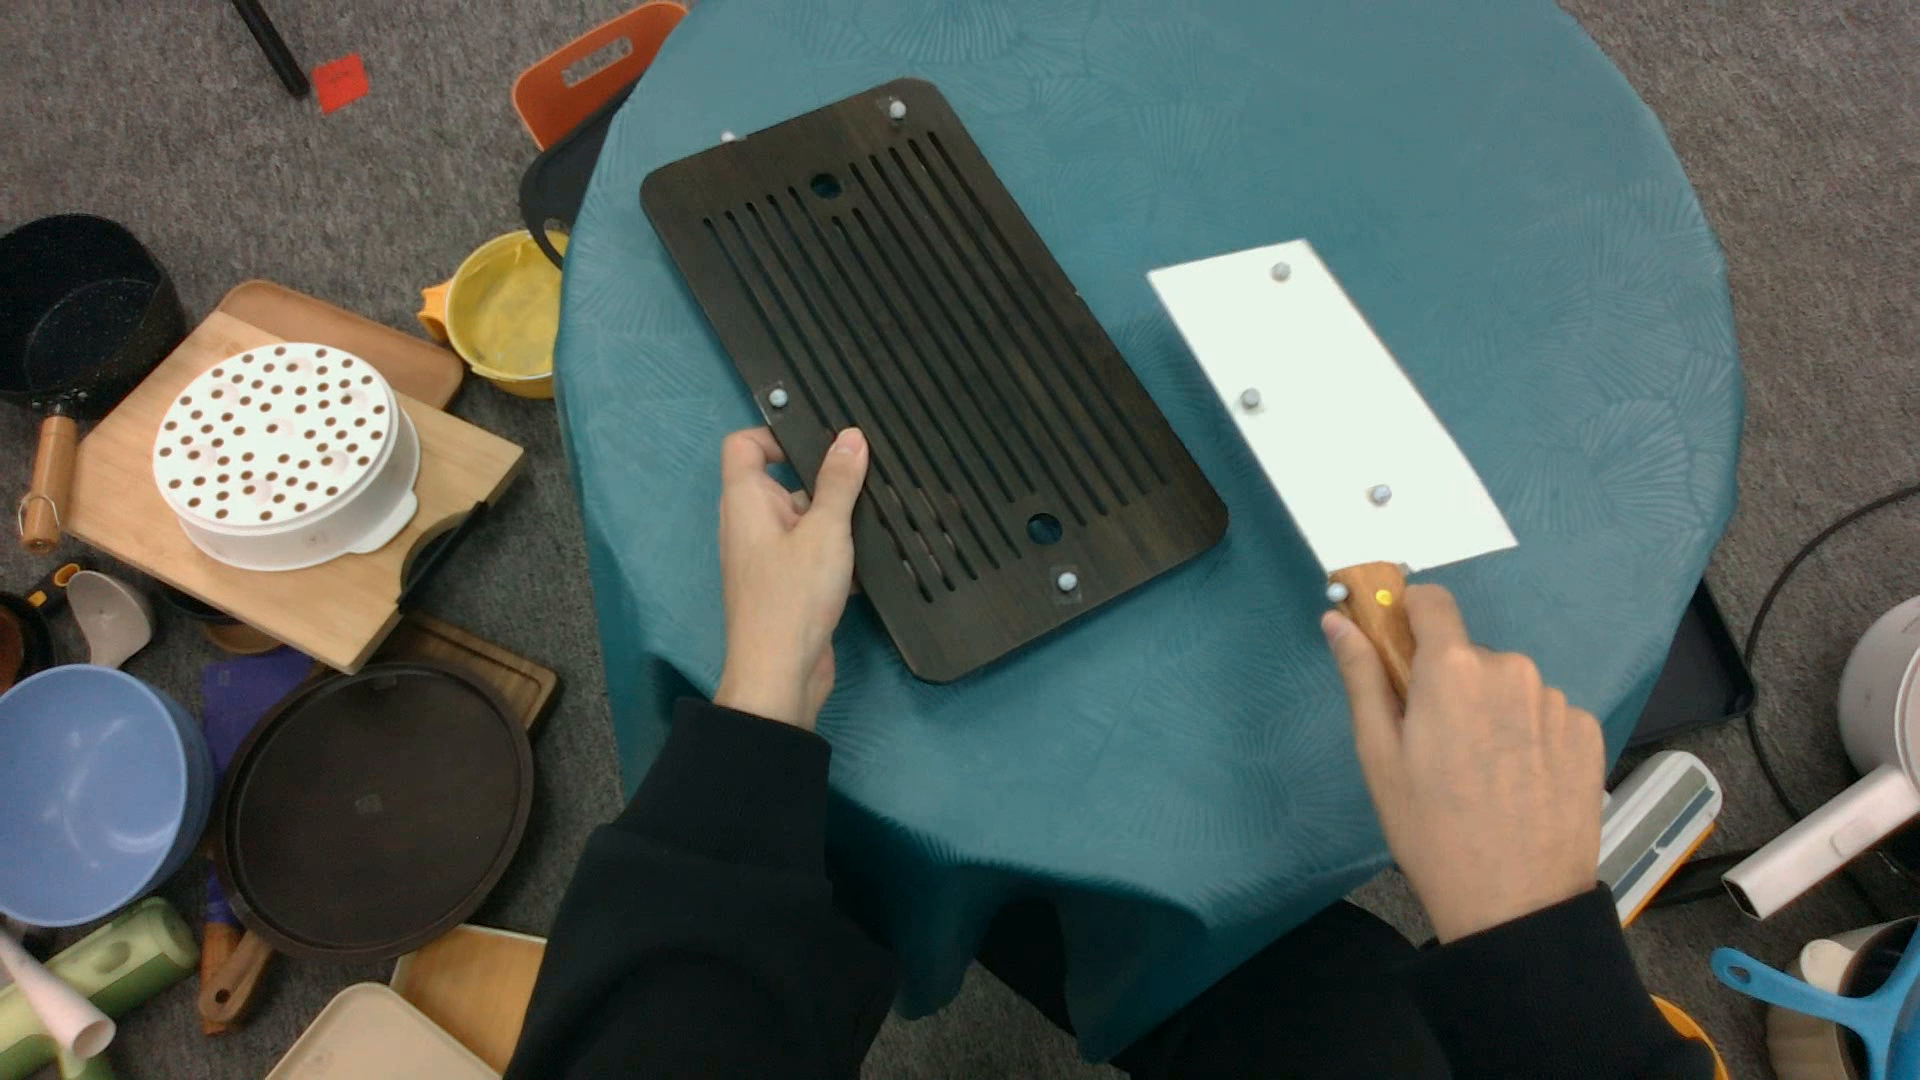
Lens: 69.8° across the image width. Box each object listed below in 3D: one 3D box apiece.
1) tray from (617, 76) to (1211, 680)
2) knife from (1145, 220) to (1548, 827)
[{"bbox_3d":[-0.027,-0.091,0.667,0.170,0.018,0.306,-26,70,-17],"label":"tray"},{"bbox_3d":[0.179,-0.027,0.596,0.093,0.021,0.306,-14,61,-17],"label":"knife"}]
